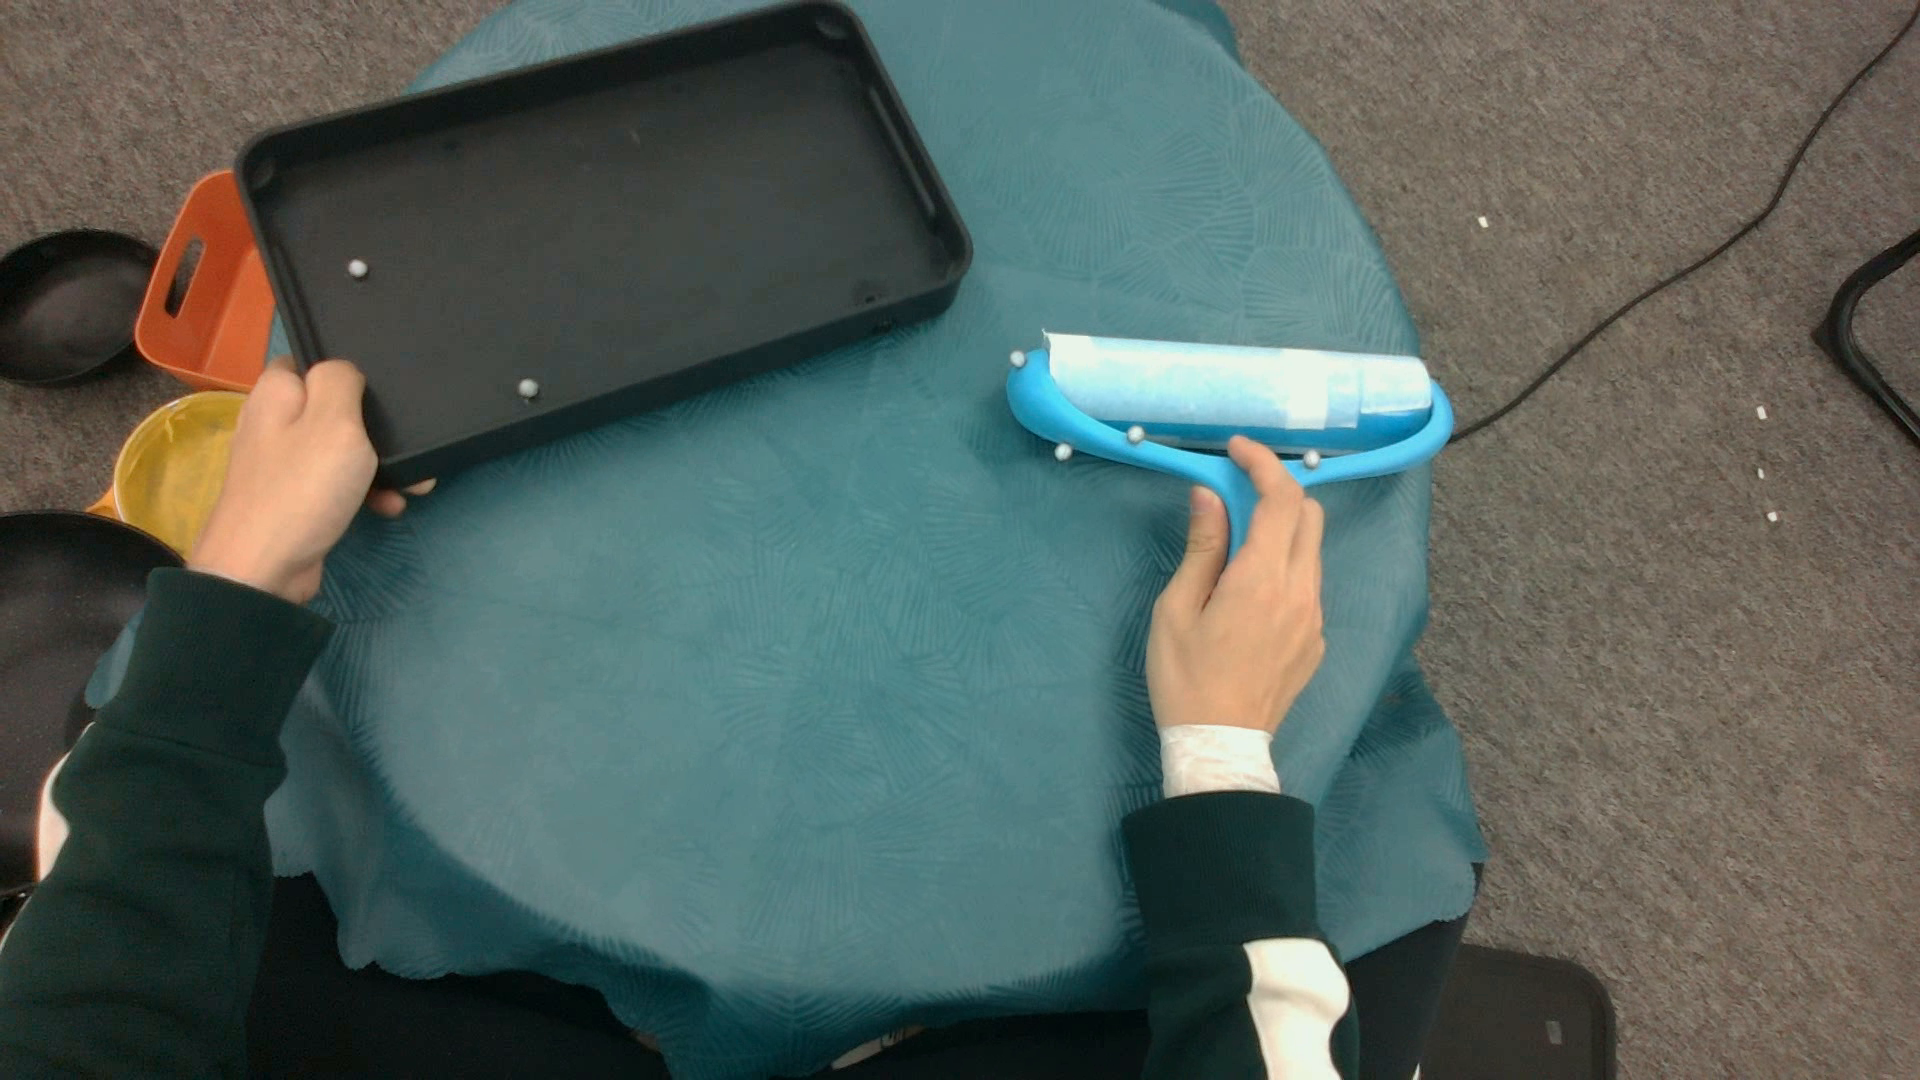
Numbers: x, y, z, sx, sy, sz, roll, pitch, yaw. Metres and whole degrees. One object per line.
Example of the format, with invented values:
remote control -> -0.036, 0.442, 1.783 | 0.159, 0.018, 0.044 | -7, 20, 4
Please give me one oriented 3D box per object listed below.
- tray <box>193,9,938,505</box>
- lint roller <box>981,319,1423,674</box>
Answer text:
tray -> -0.186, -0.149, 0.683 | 0.319, 0.037, 0.184 | -23, 75, -20
lint roller -> 0.129, -0.028, 0.687 | 0.229, 0.067, 0.181 | -1, 71, -10
